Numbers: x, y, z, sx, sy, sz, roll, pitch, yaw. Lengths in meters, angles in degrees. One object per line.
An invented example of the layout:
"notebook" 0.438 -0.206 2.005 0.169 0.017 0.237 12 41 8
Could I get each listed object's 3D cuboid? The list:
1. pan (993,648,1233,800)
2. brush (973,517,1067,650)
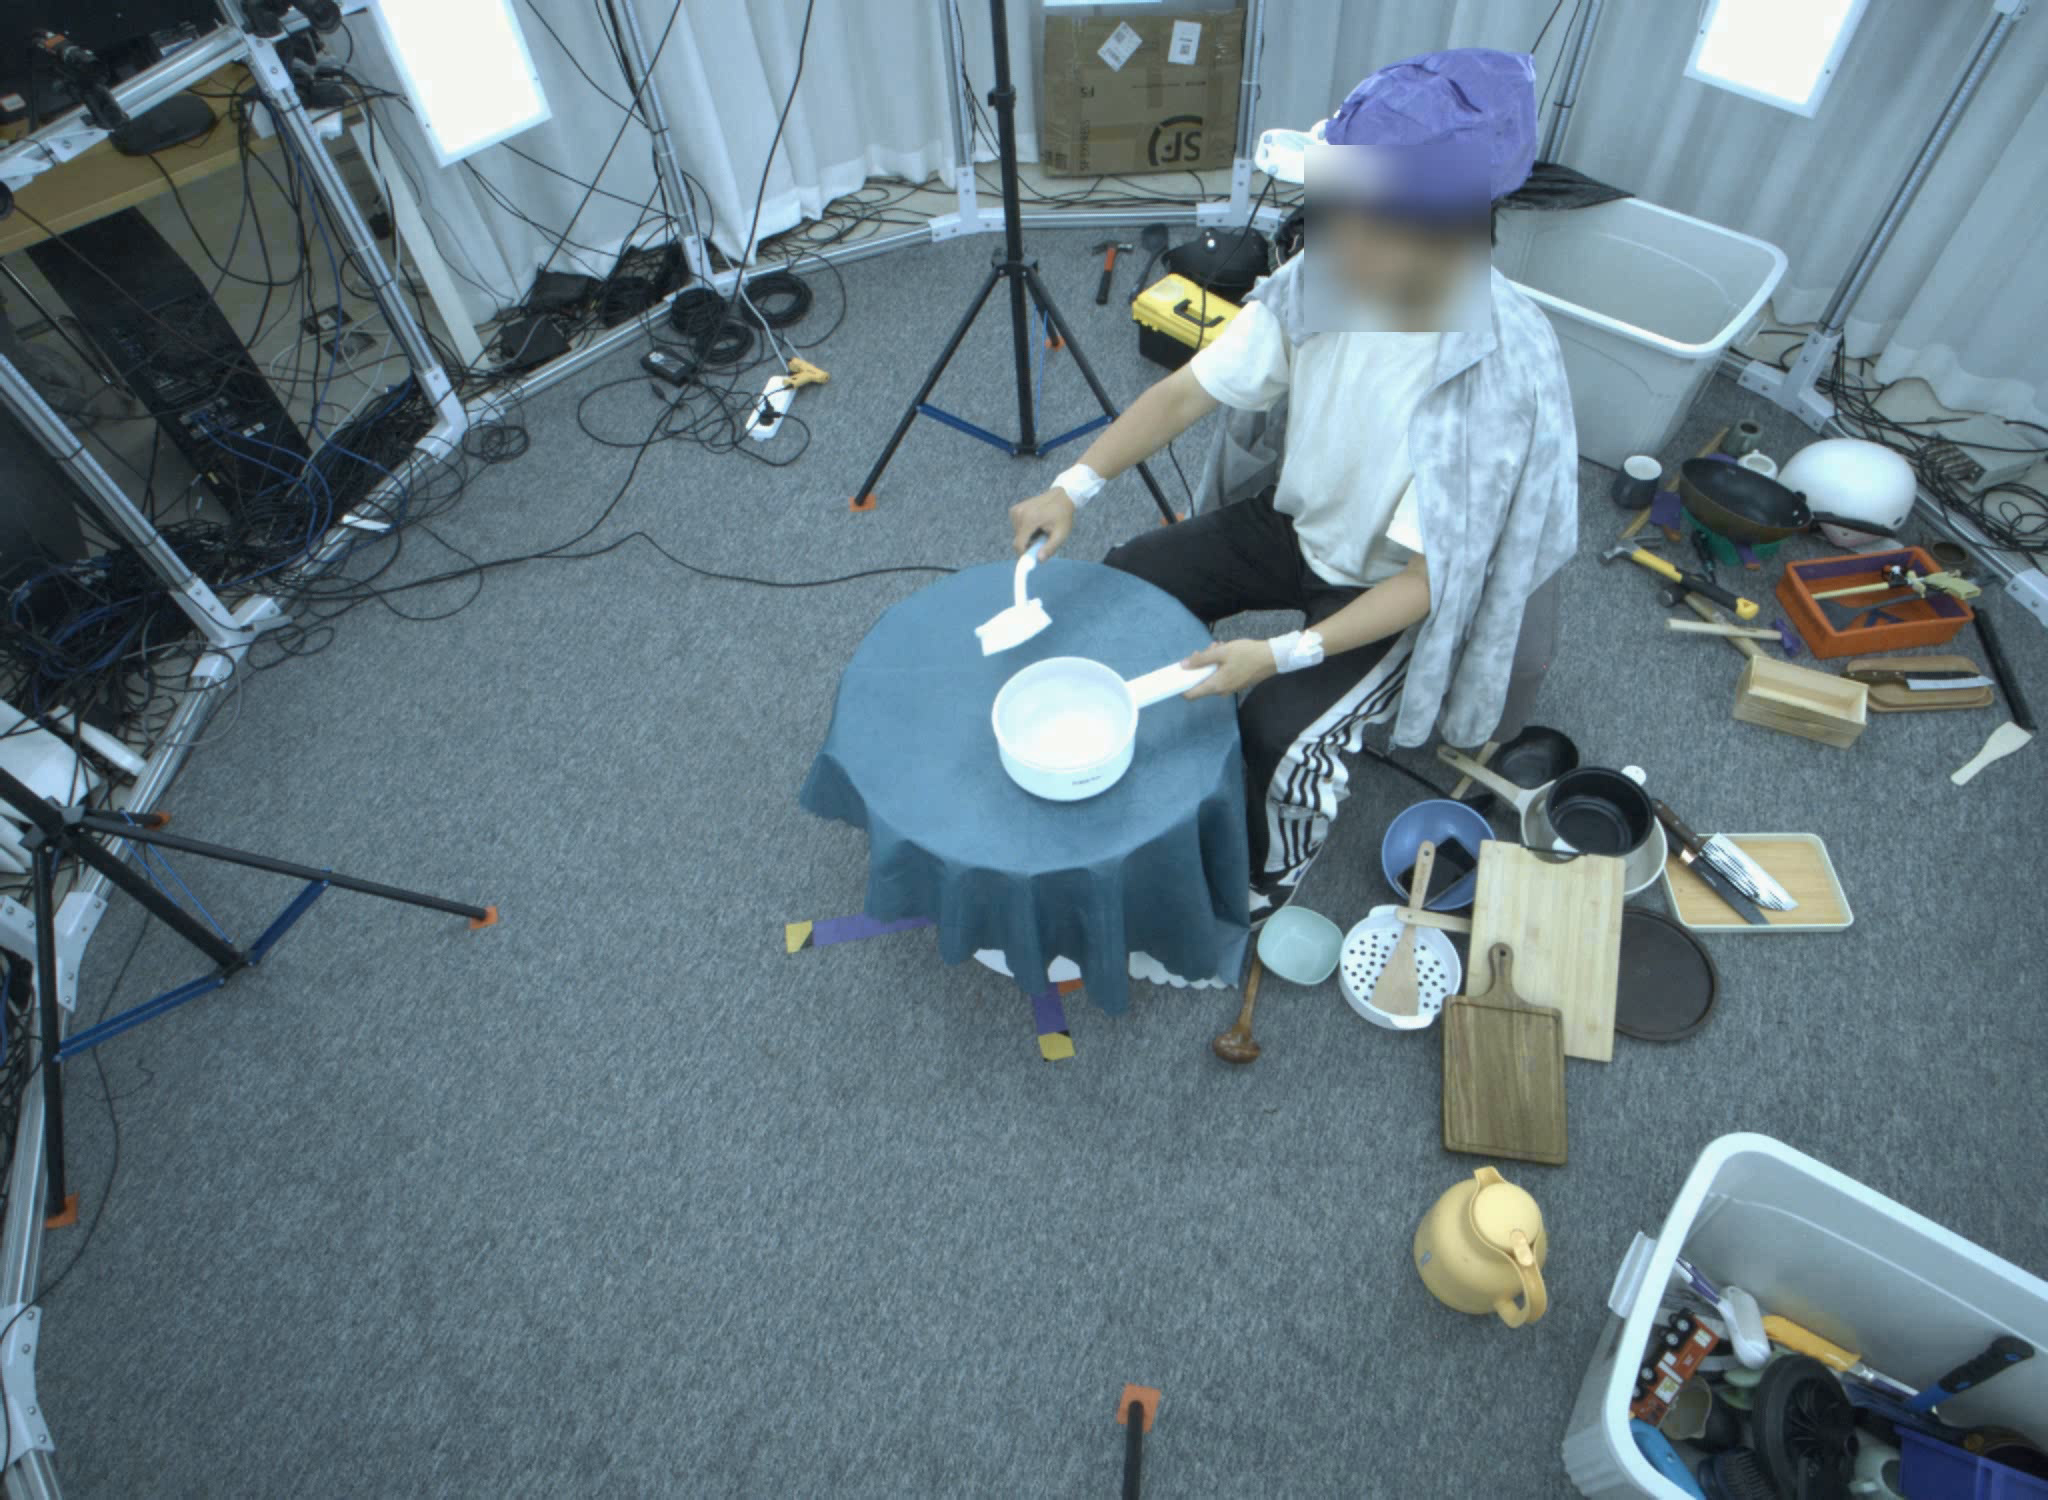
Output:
"pan" 0.130 -0.051 1.760 0.357 0.103 0.197 -20 56 -12
"brush" 0.016 -0.235 1.806 0.082 0.085 0.326 20 43 12
